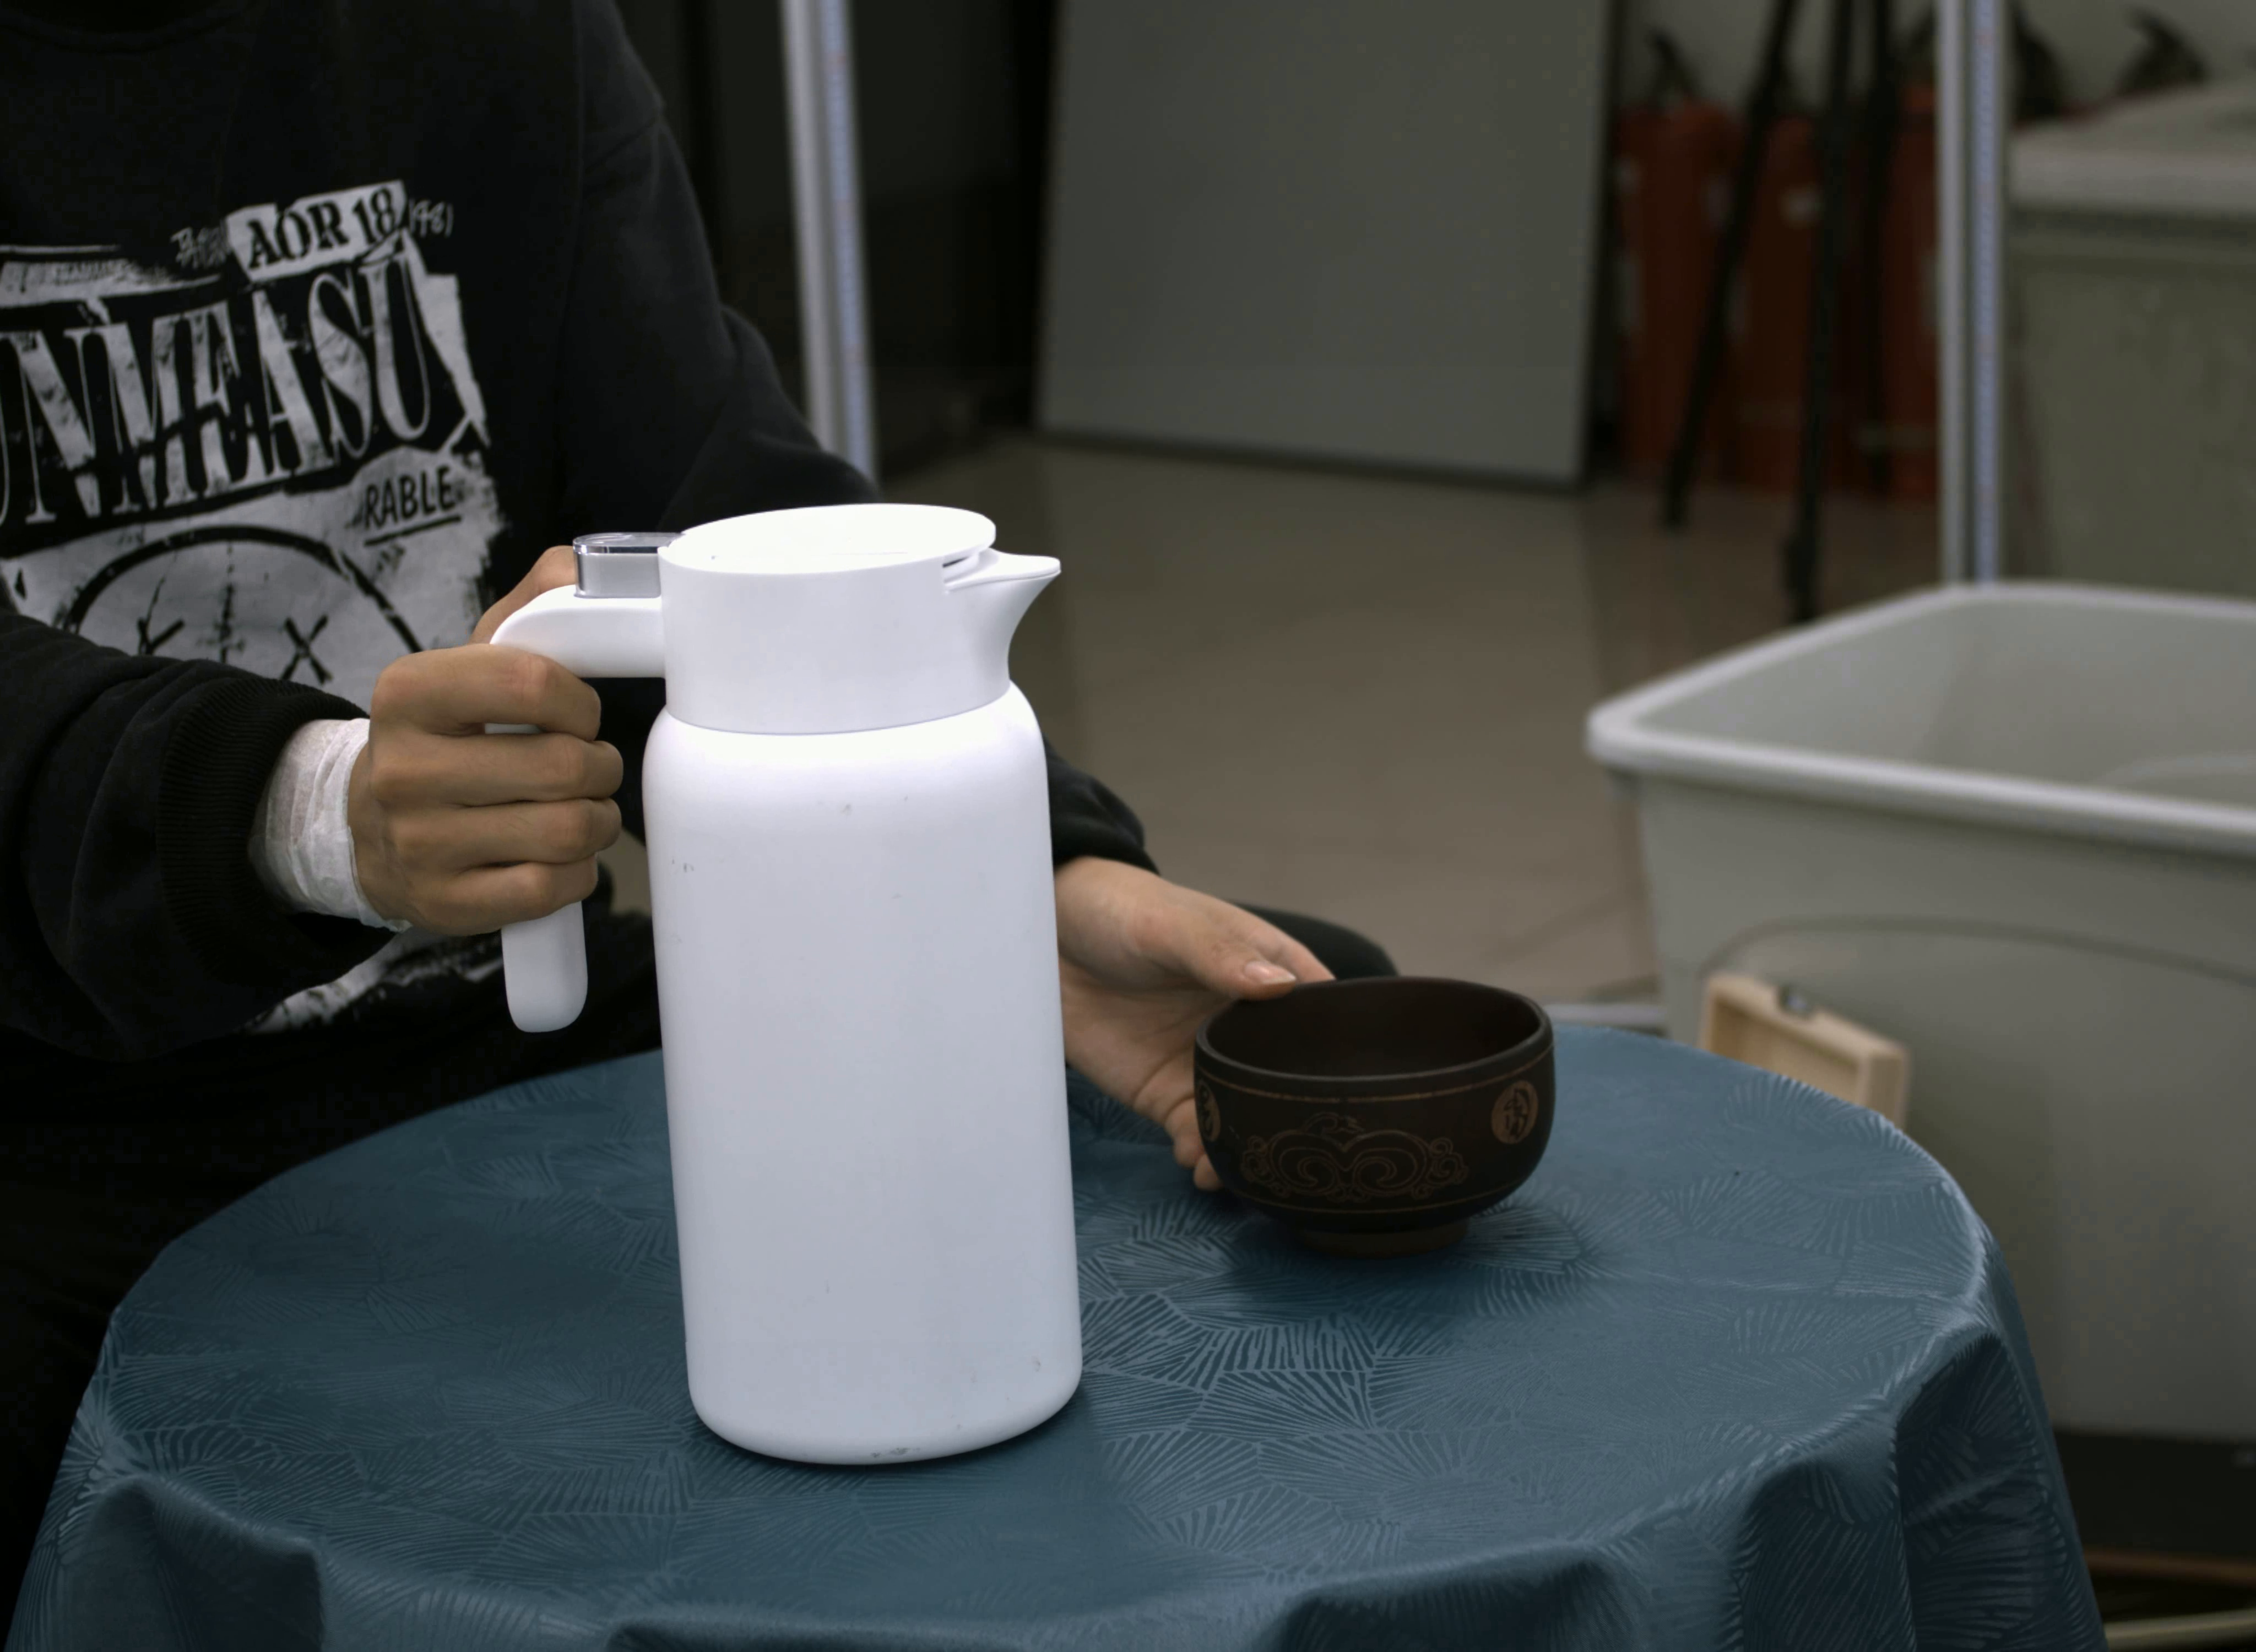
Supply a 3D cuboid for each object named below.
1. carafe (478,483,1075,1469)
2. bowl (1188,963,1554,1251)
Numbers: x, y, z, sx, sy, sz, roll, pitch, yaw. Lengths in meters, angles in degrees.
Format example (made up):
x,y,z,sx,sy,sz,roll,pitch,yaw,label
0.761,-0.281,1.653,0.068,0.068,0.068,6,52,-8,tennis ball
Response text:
x,y,z,sx,sy,sz,roll,pitch,yaw,label
-0.097,0.042,1.563,0.172,0.272,0.123,-1,15,13,carafe
0.078,0.093,1.709,0.116,0.070,0.118,-5,14,0,bowl
